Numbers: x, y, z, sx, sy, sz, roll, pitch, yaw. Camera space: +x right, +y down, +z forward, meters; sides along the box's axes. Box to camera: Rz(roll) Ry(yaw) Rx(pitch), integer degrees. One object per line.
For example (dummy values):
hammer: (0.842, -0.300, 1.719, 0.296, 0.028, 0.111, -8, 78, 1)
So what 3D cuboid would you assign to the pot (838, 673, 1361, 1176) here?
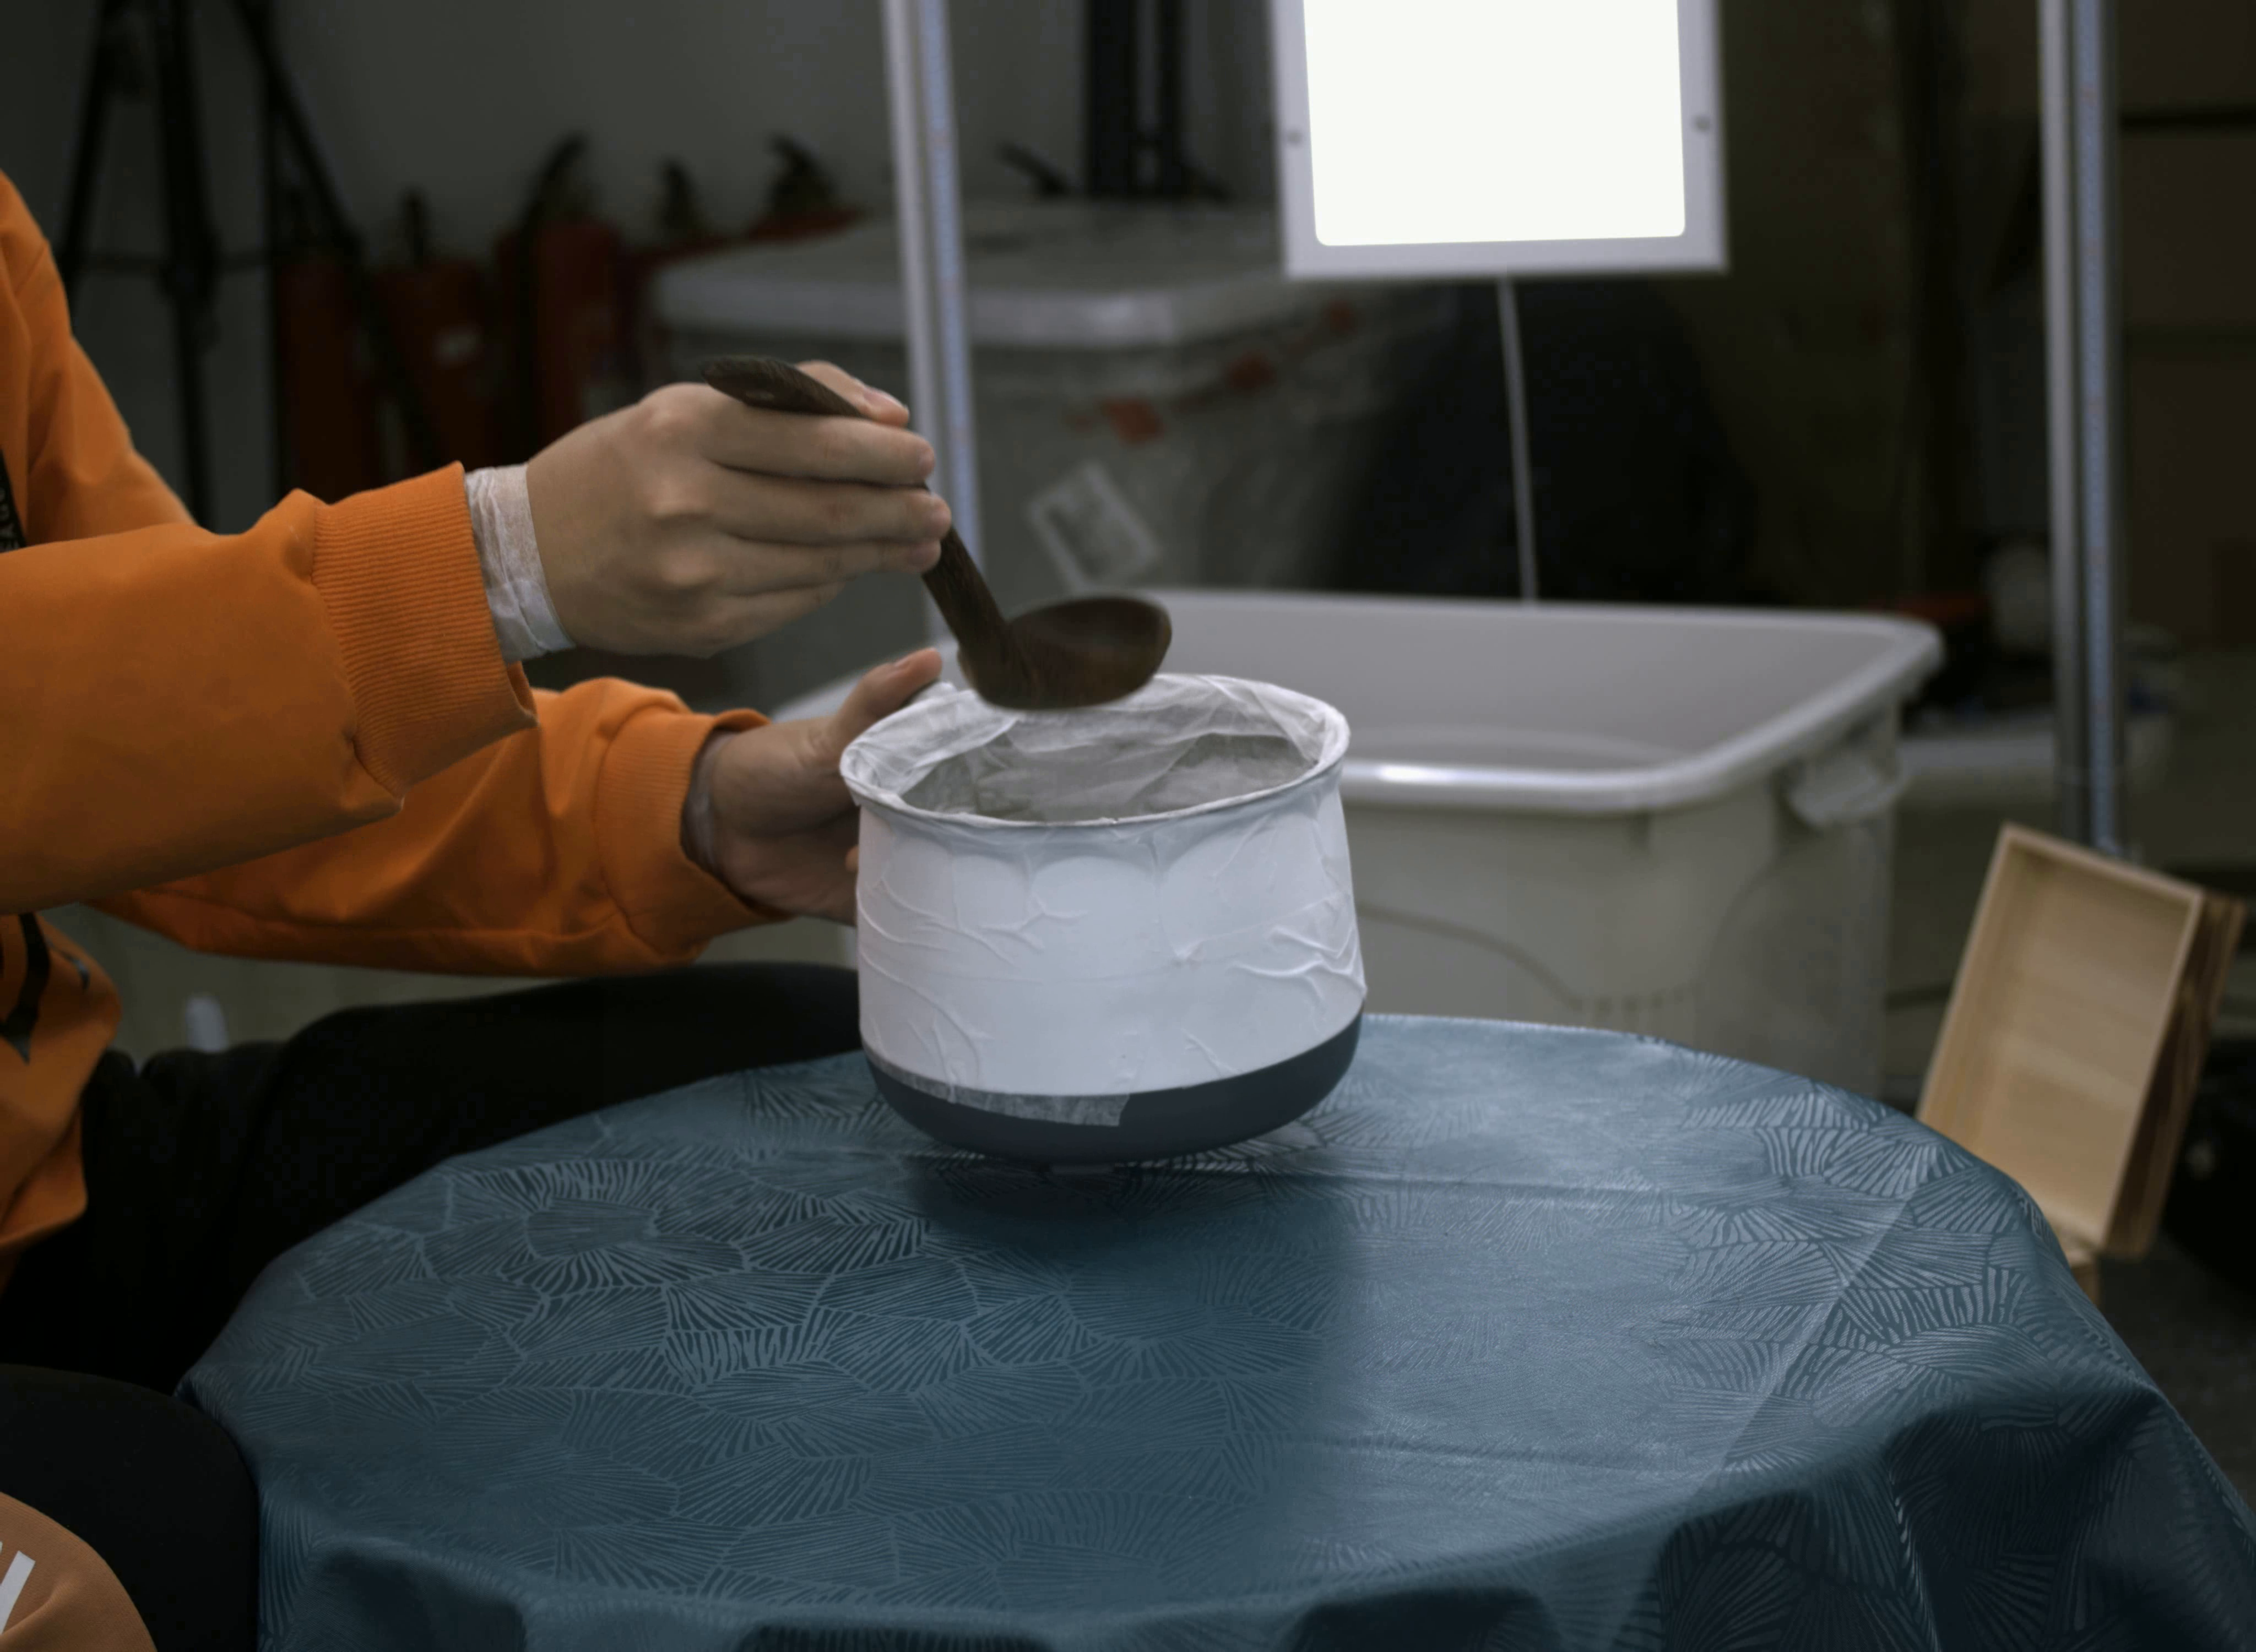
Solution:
pot: (-0.025, 0.027, 1.933, 0.174, 0.137, 0.238, -15, 21, -33)

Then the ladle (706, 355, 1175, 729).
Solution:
ladle: (-0.062, -0.106, 1.788, 0.077, 0.071, 0.271, -4, -30, 24)
